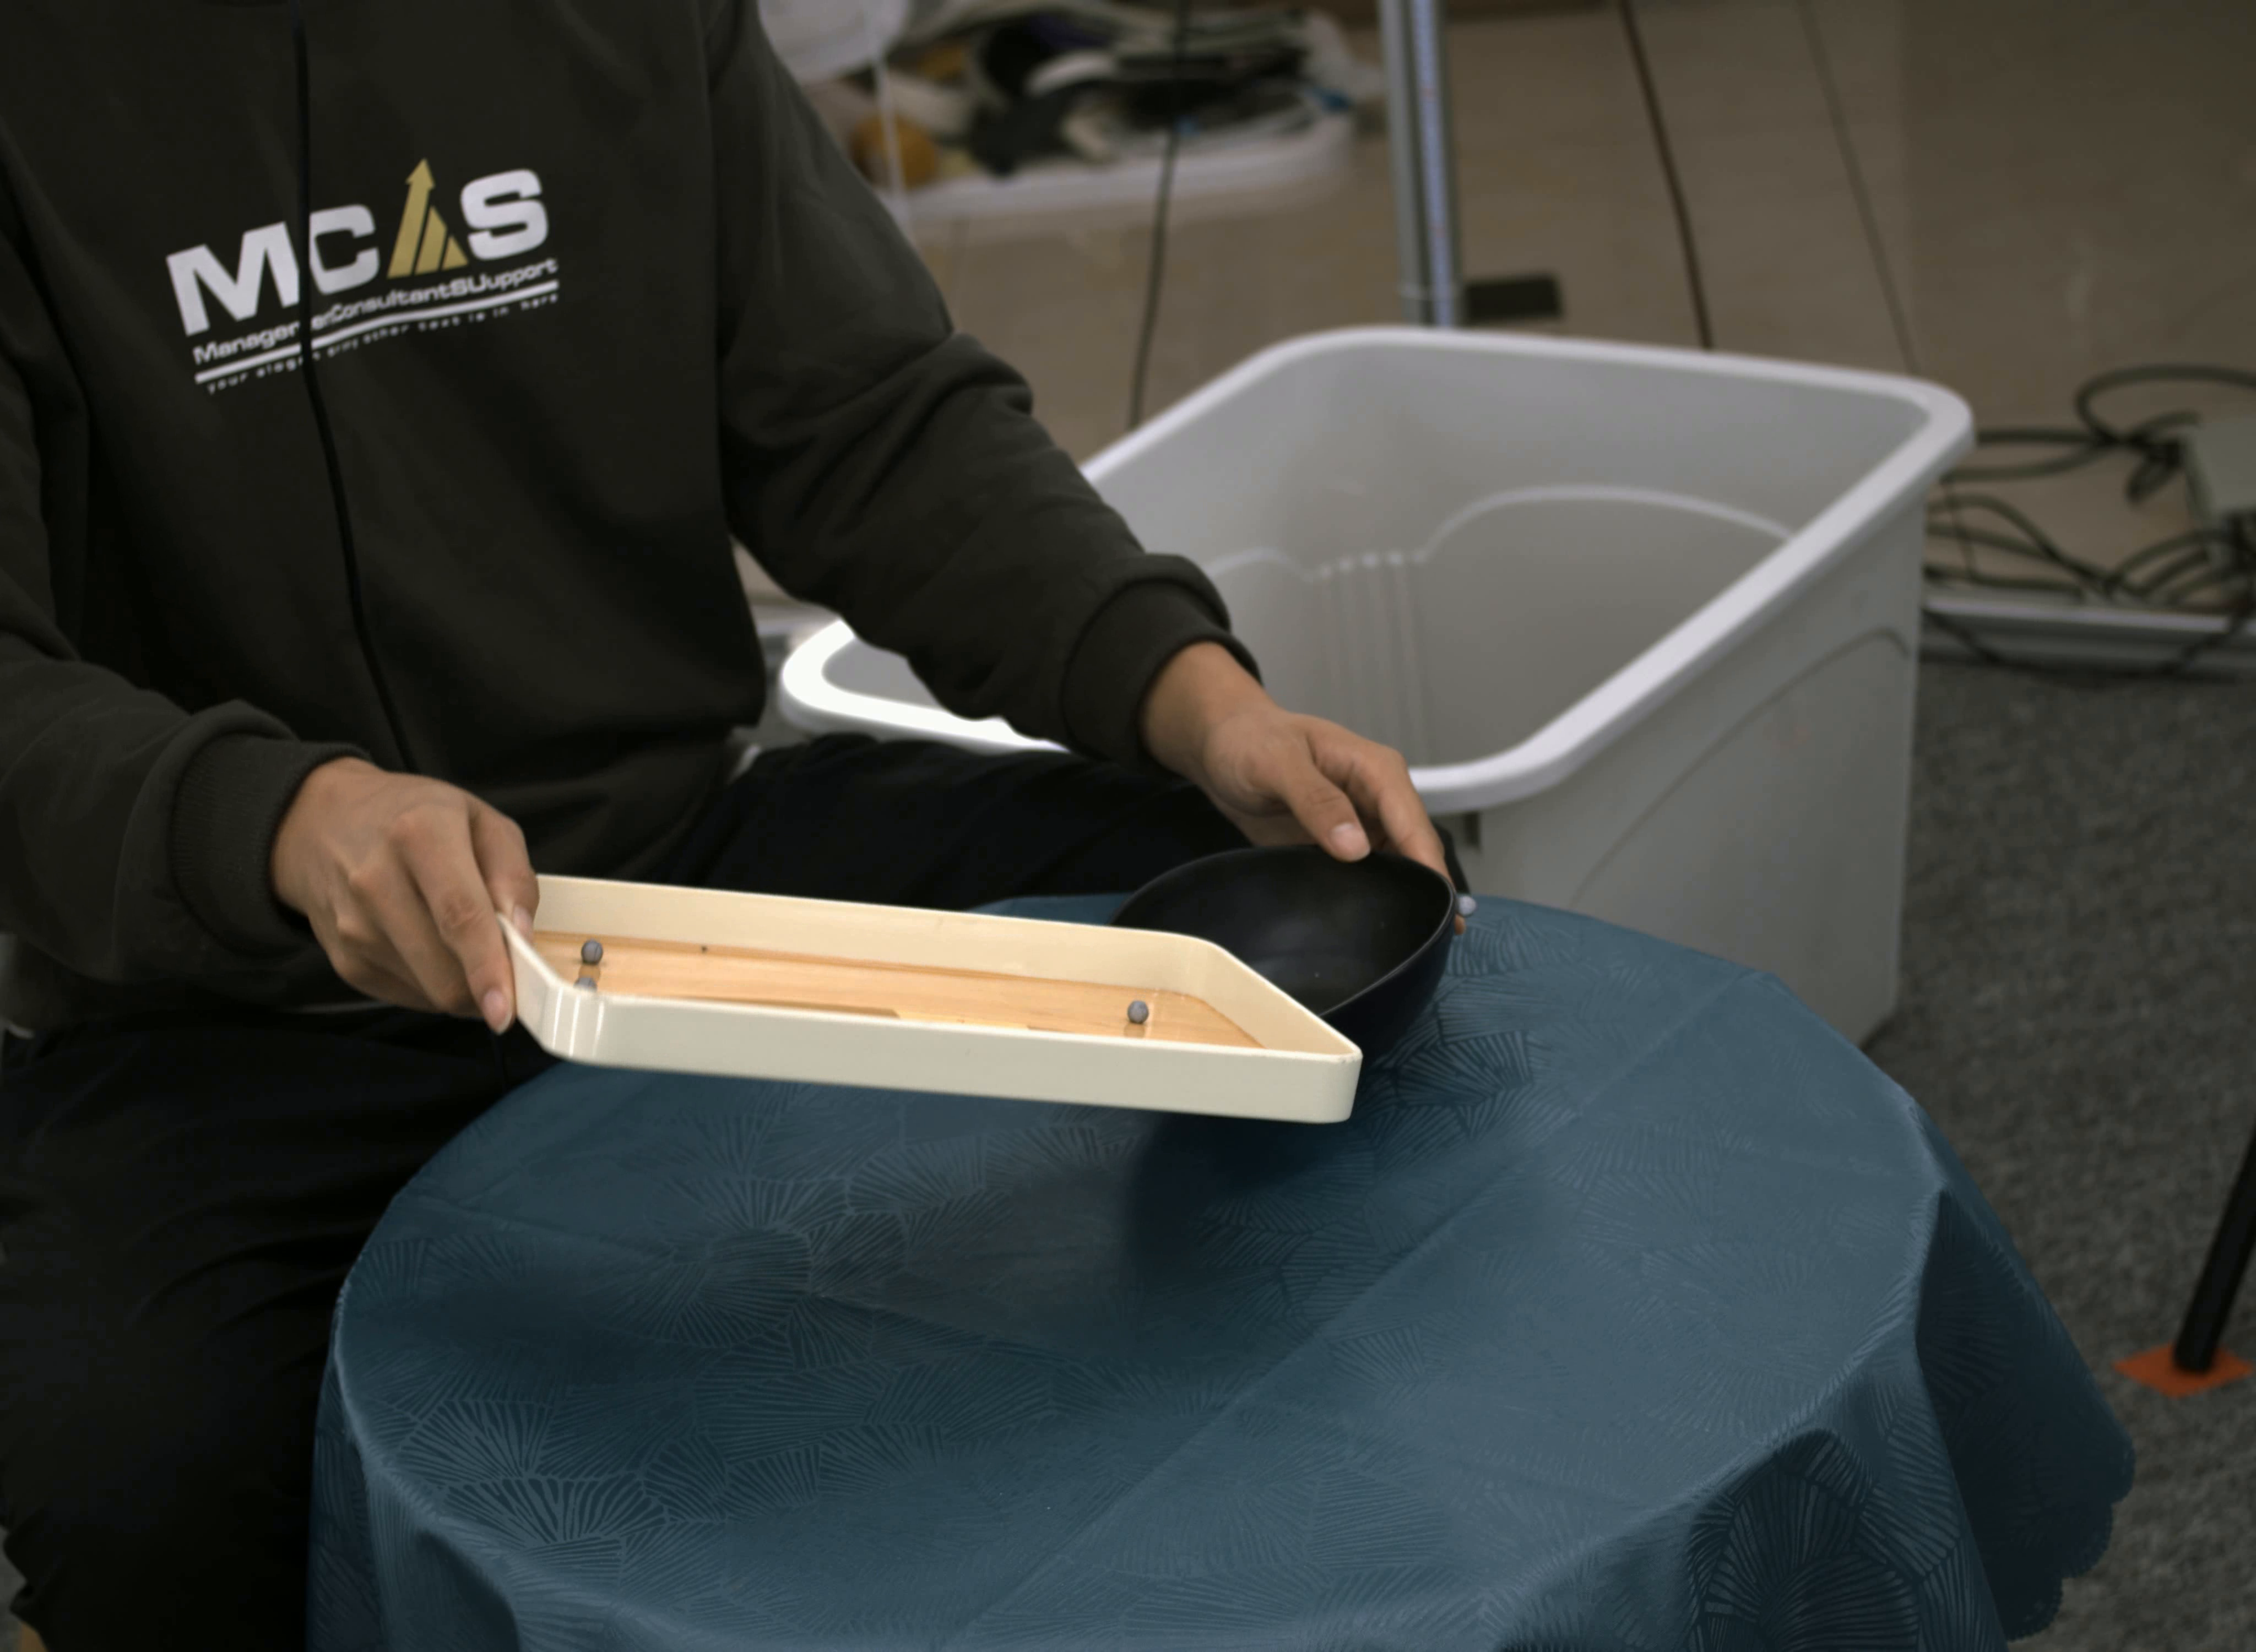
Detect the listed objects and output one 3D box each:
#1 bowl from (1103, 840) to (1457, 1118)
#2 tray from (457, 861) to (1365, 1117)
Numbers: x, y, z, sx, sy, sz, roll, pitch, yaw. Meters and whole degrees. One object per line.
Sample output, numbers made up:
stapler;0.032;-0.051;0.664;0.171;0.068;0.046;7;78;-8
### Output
bowl;0.058;0.069;2.209;0.136;0.068;0.168;10;34;34
tray;-0.081;0.059;2.055;0.300;0.027;0.190;7;10;-20
